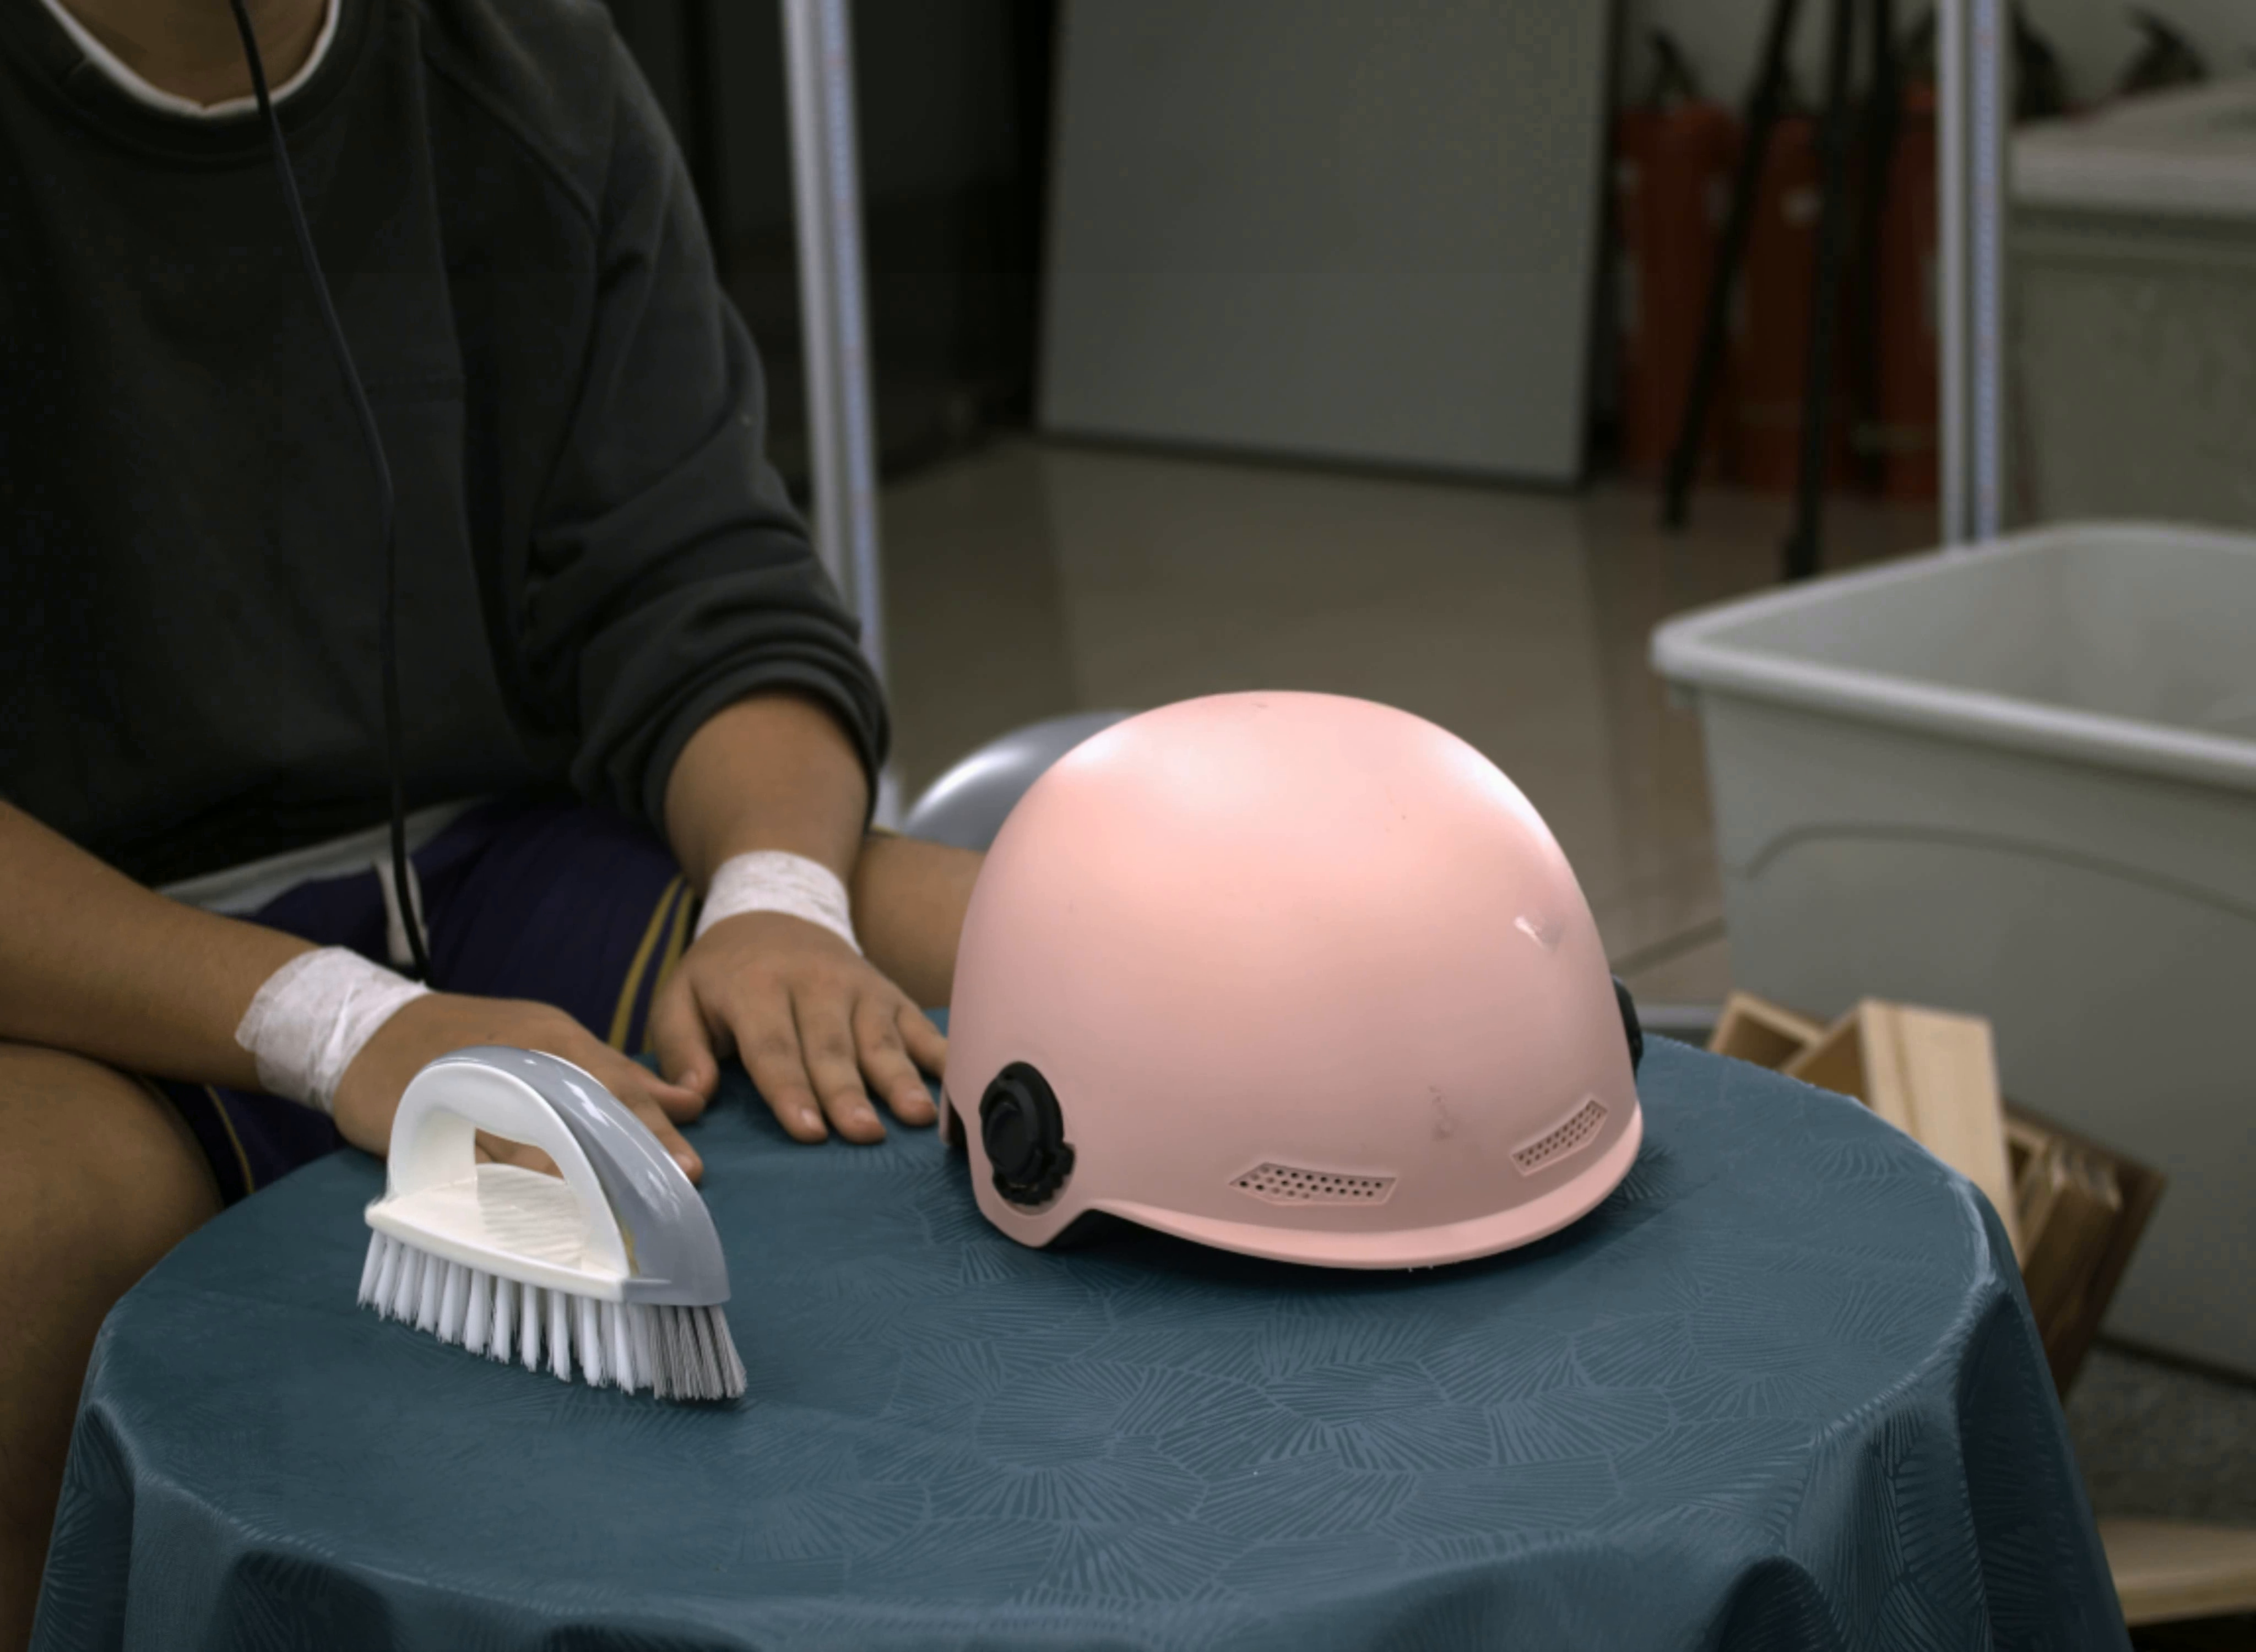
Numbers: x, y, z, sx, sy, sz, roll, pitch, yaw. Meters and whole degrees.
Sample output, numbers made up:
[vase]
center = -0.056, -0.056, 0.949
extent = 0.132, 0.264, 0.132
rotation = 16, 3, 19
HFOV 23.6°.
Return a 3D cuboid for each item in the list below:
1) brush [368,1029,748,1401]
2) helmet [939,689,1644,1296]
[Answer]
[brush]
center = -0.170, 0.115, 1.650
extent = 0.060, 0.095, 0.177
rotation = -14, 19, -36
[helmet]
center = 0.053, 0.042, 1.759
extent = 0.229, 0.160, 0.268
rotation = -9, 18, -21
